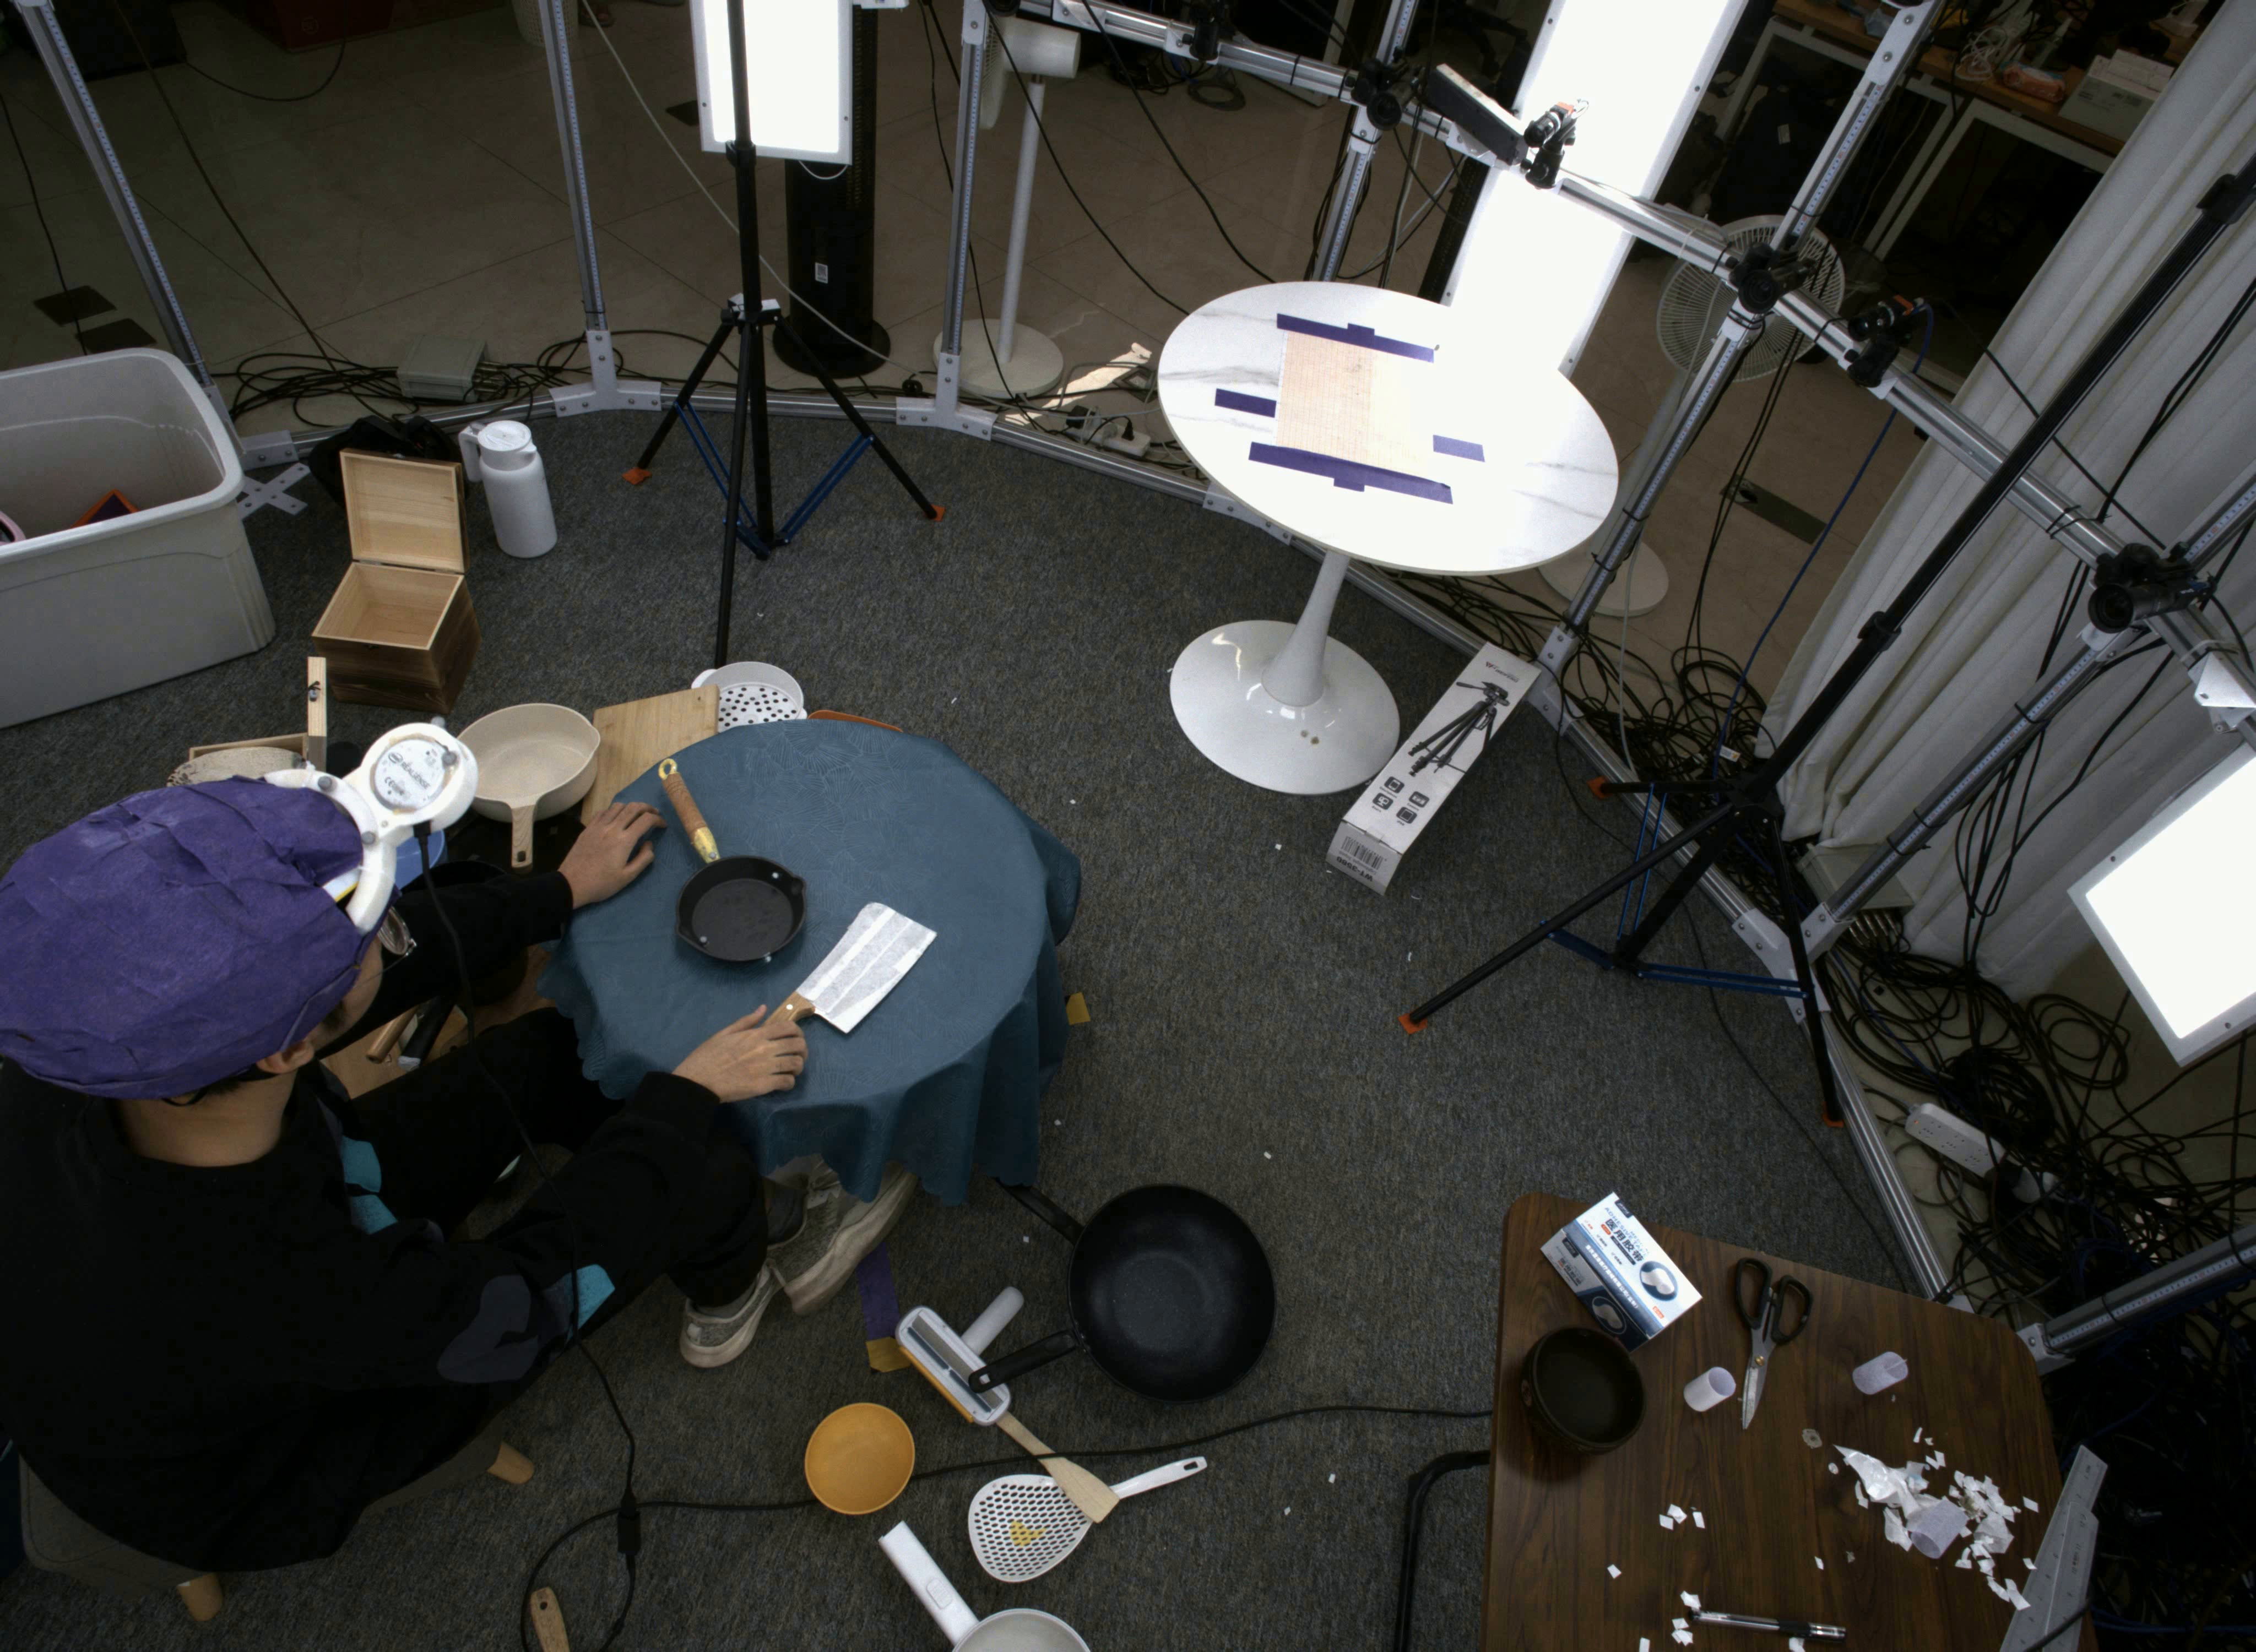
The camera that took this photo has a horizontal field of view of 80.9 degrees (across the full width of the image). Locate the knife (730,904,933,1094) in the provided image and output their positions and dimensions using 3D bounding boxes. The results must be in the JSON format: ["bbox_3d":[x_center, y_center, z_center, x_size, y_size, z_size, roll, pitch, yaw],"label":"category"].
[{"bbox_3d":[-0.362,0.202,1.567,0.112,0.022,0.315,34,50,11],"label":"knife"}]

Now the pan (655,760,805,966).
[{"bbox_3d":[-0.523,0.042,1.623,0.170,0.050,0.317,-24,64,-28],"label":"pan"}]
